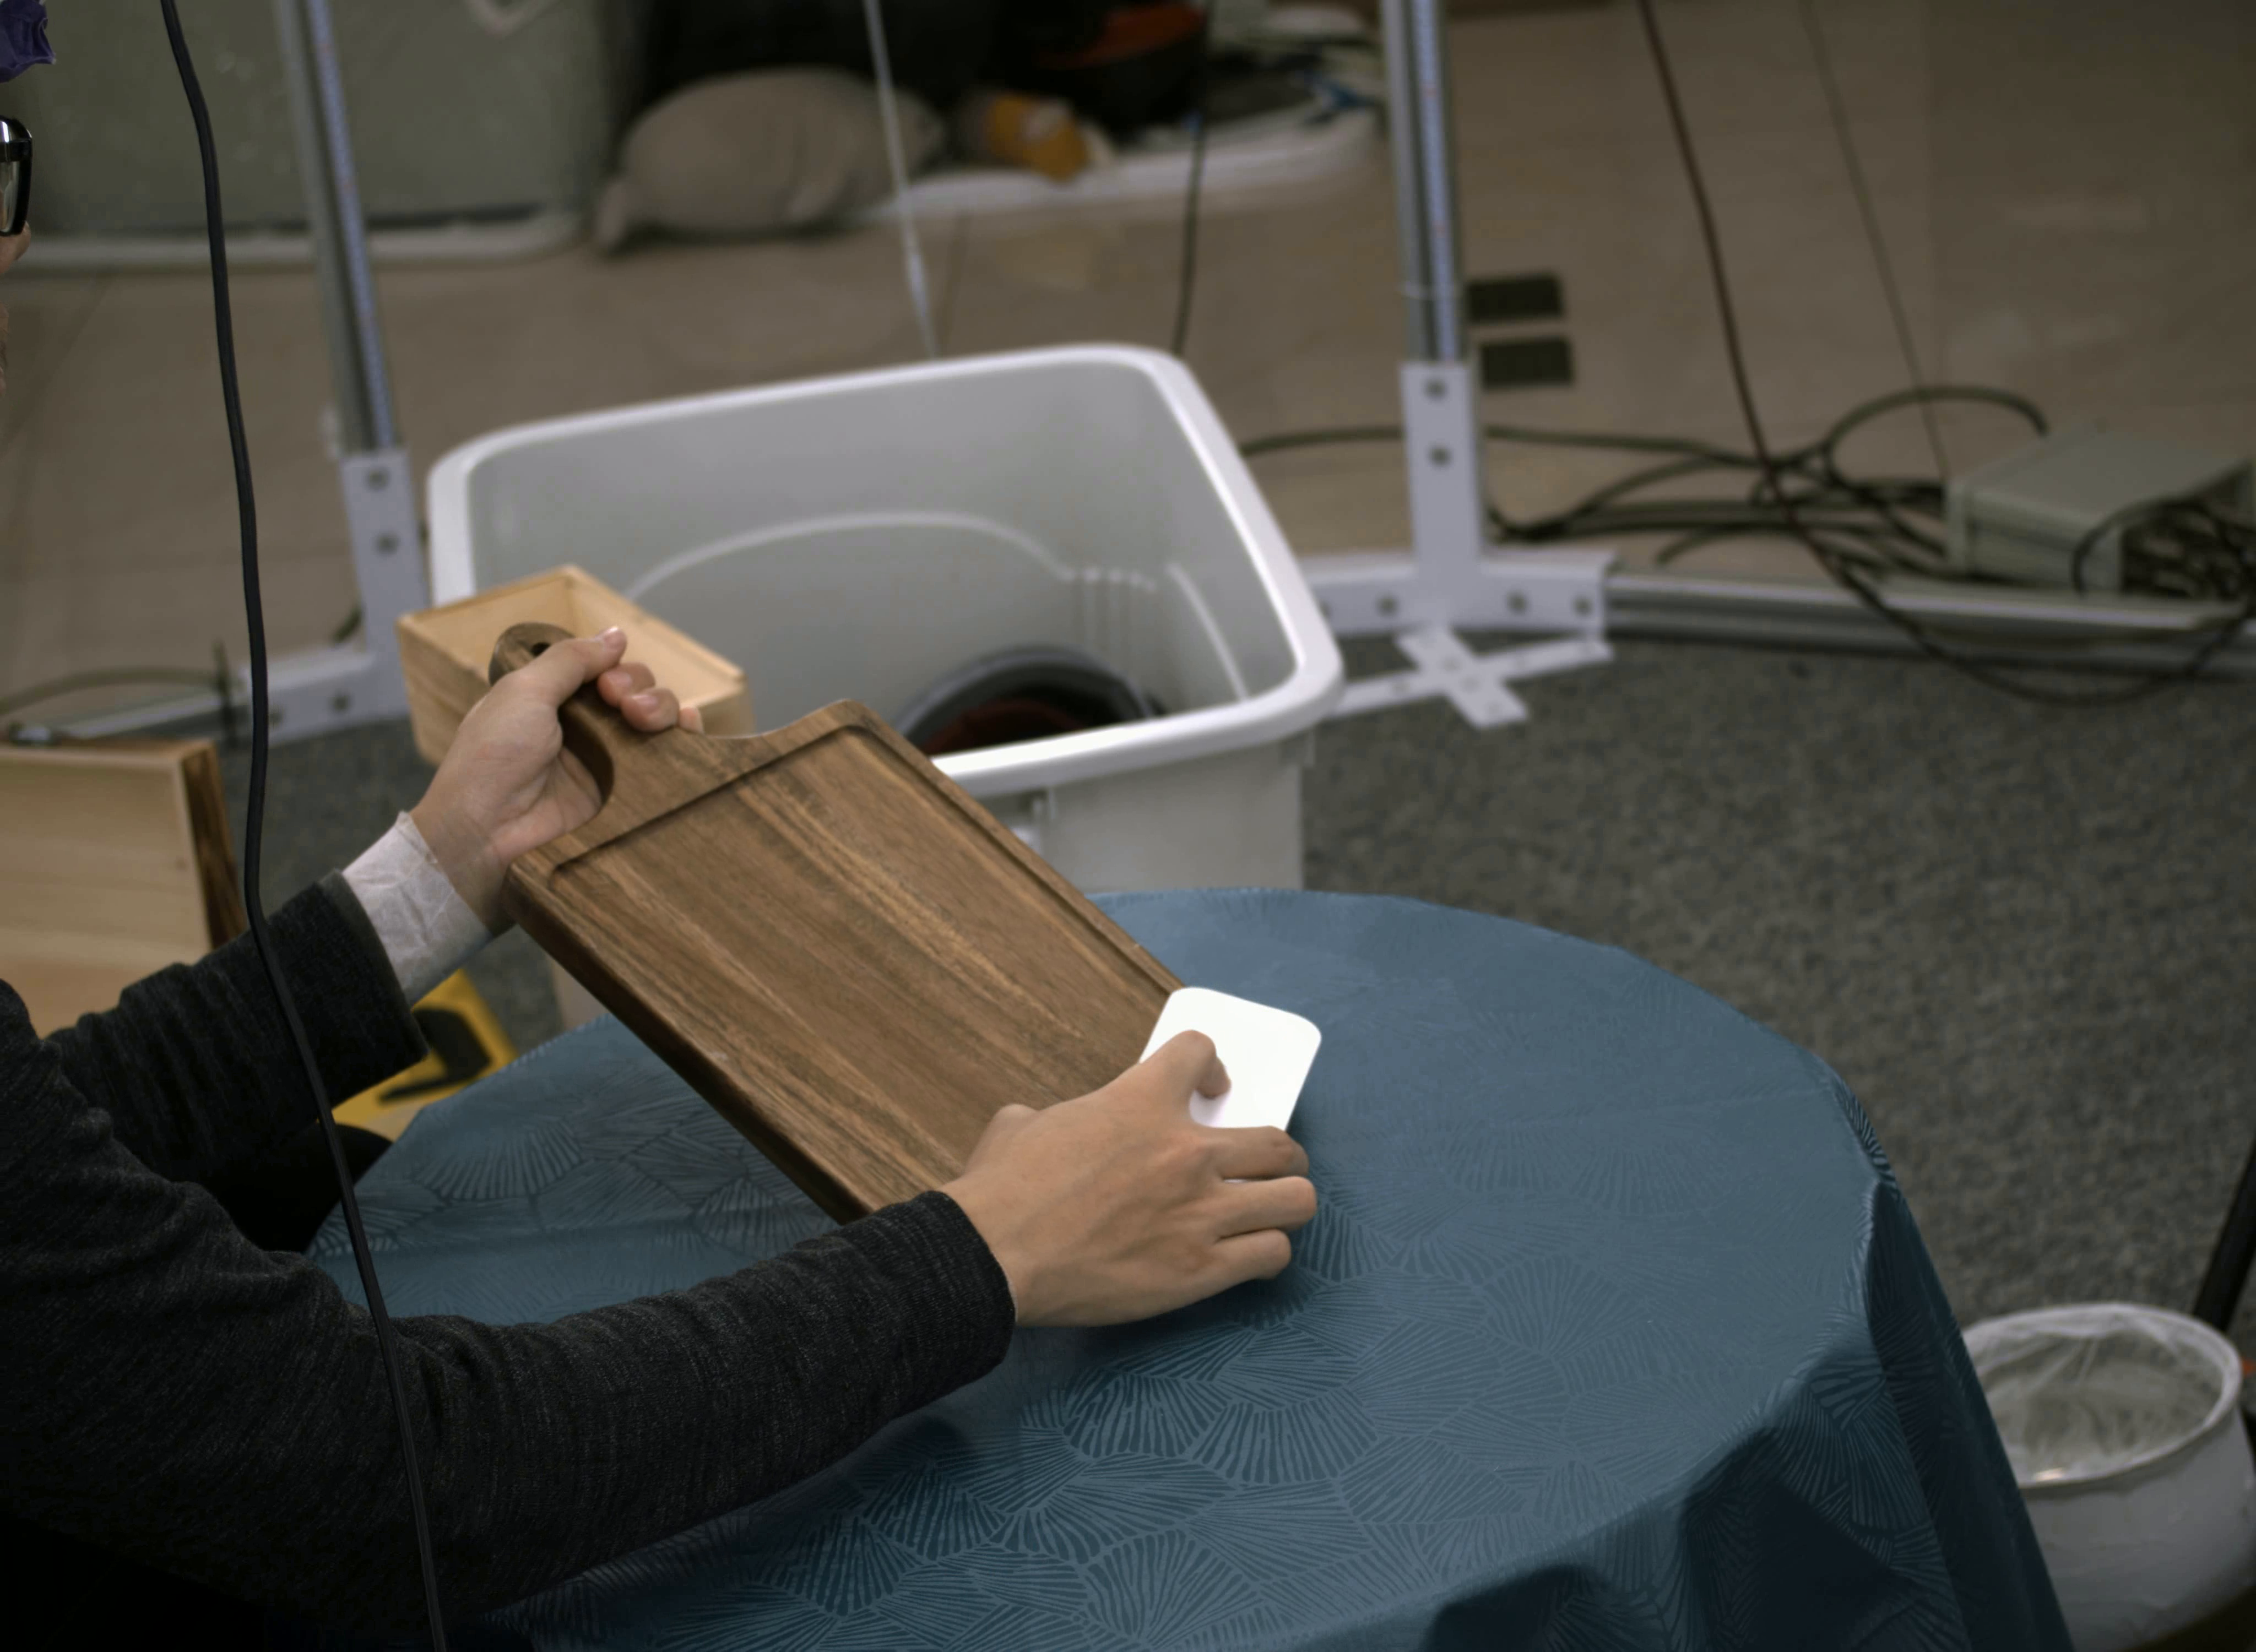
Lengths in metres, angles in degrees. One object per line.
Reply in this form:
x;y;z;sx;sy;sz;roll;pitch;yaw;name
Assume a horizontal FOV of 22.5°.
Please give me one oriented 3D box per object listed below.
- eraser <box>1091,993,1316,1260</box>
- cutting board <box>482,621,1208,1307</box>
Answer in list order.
0.027;0.110;2.132;0.063;0.035;0.129;17;37;7;eraser
-0.124;0.032;2.191;0.349;0.023;0.199;41;45;21;cutting board
